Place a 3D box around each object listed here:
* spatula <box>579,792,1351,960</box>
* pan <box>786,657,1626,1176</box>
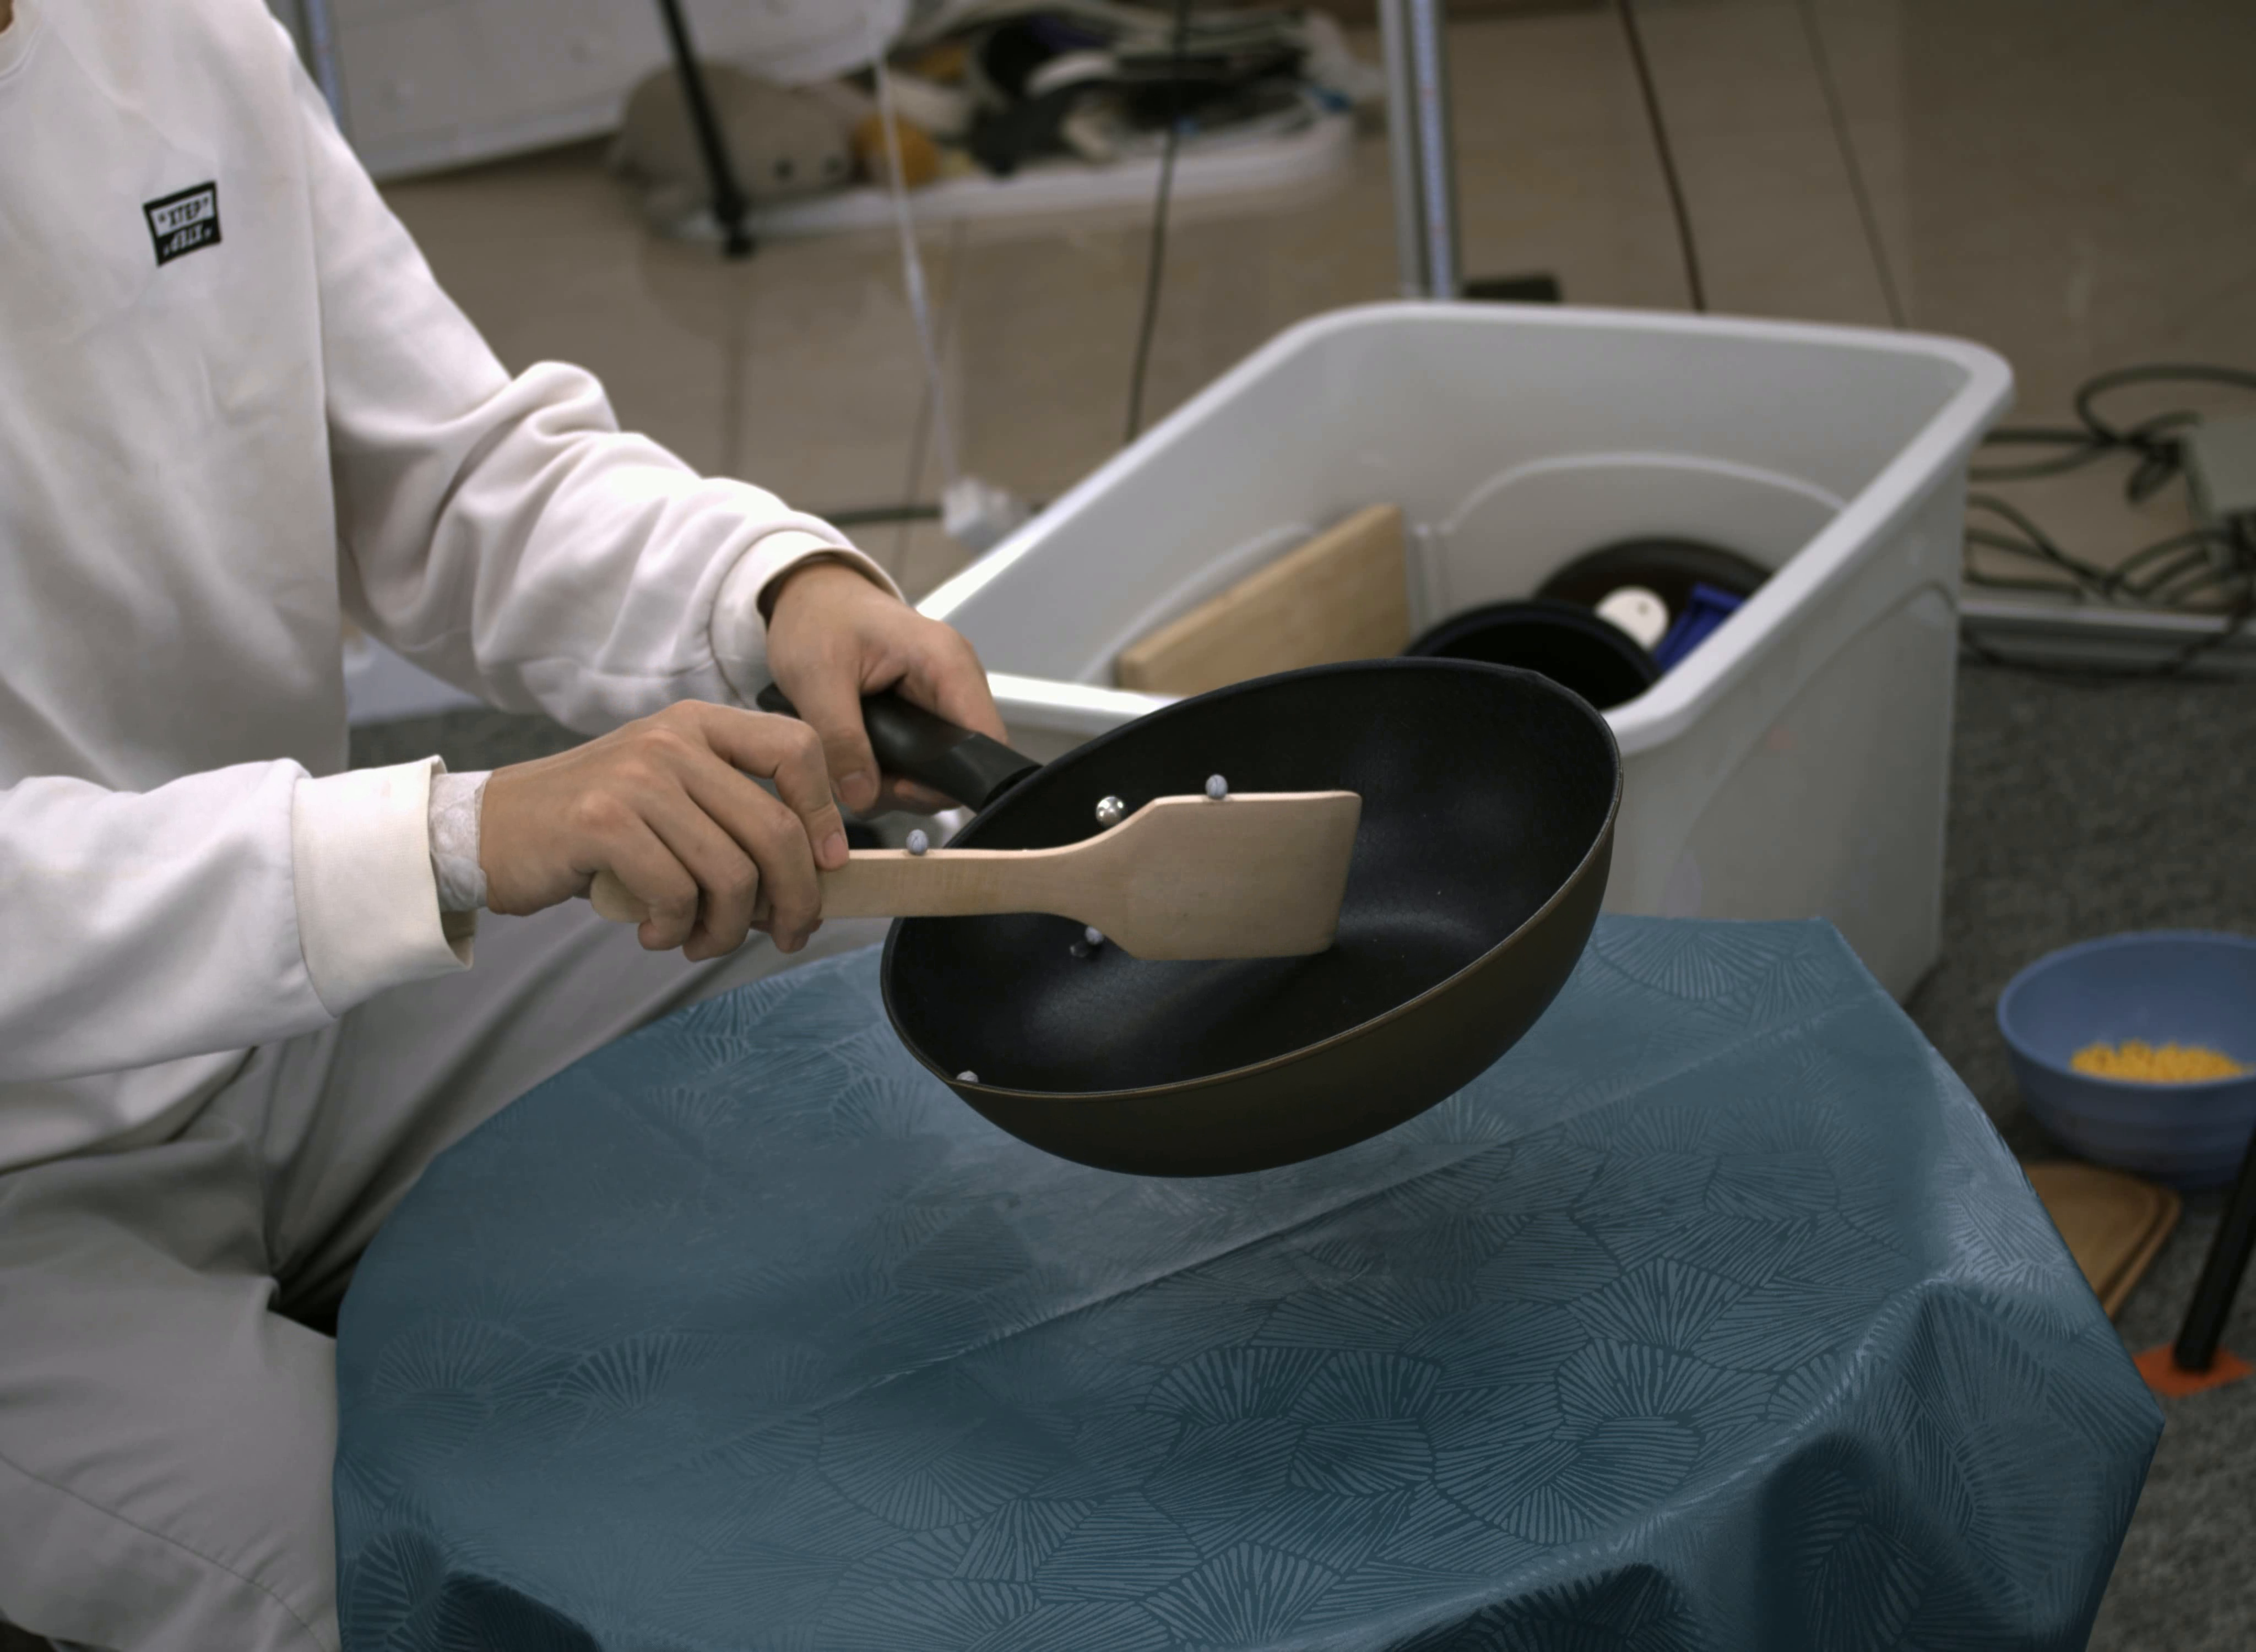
[{"bbox_3d":[-0.057,0.019,2.066,0.292,0.073,0.010,0,34,-20],"label":"spatula"},{"bbox_3d":[0.003,0.024,2.131,0.286,0.088,0.459,-34,30,-24],"label":"pan"}]
